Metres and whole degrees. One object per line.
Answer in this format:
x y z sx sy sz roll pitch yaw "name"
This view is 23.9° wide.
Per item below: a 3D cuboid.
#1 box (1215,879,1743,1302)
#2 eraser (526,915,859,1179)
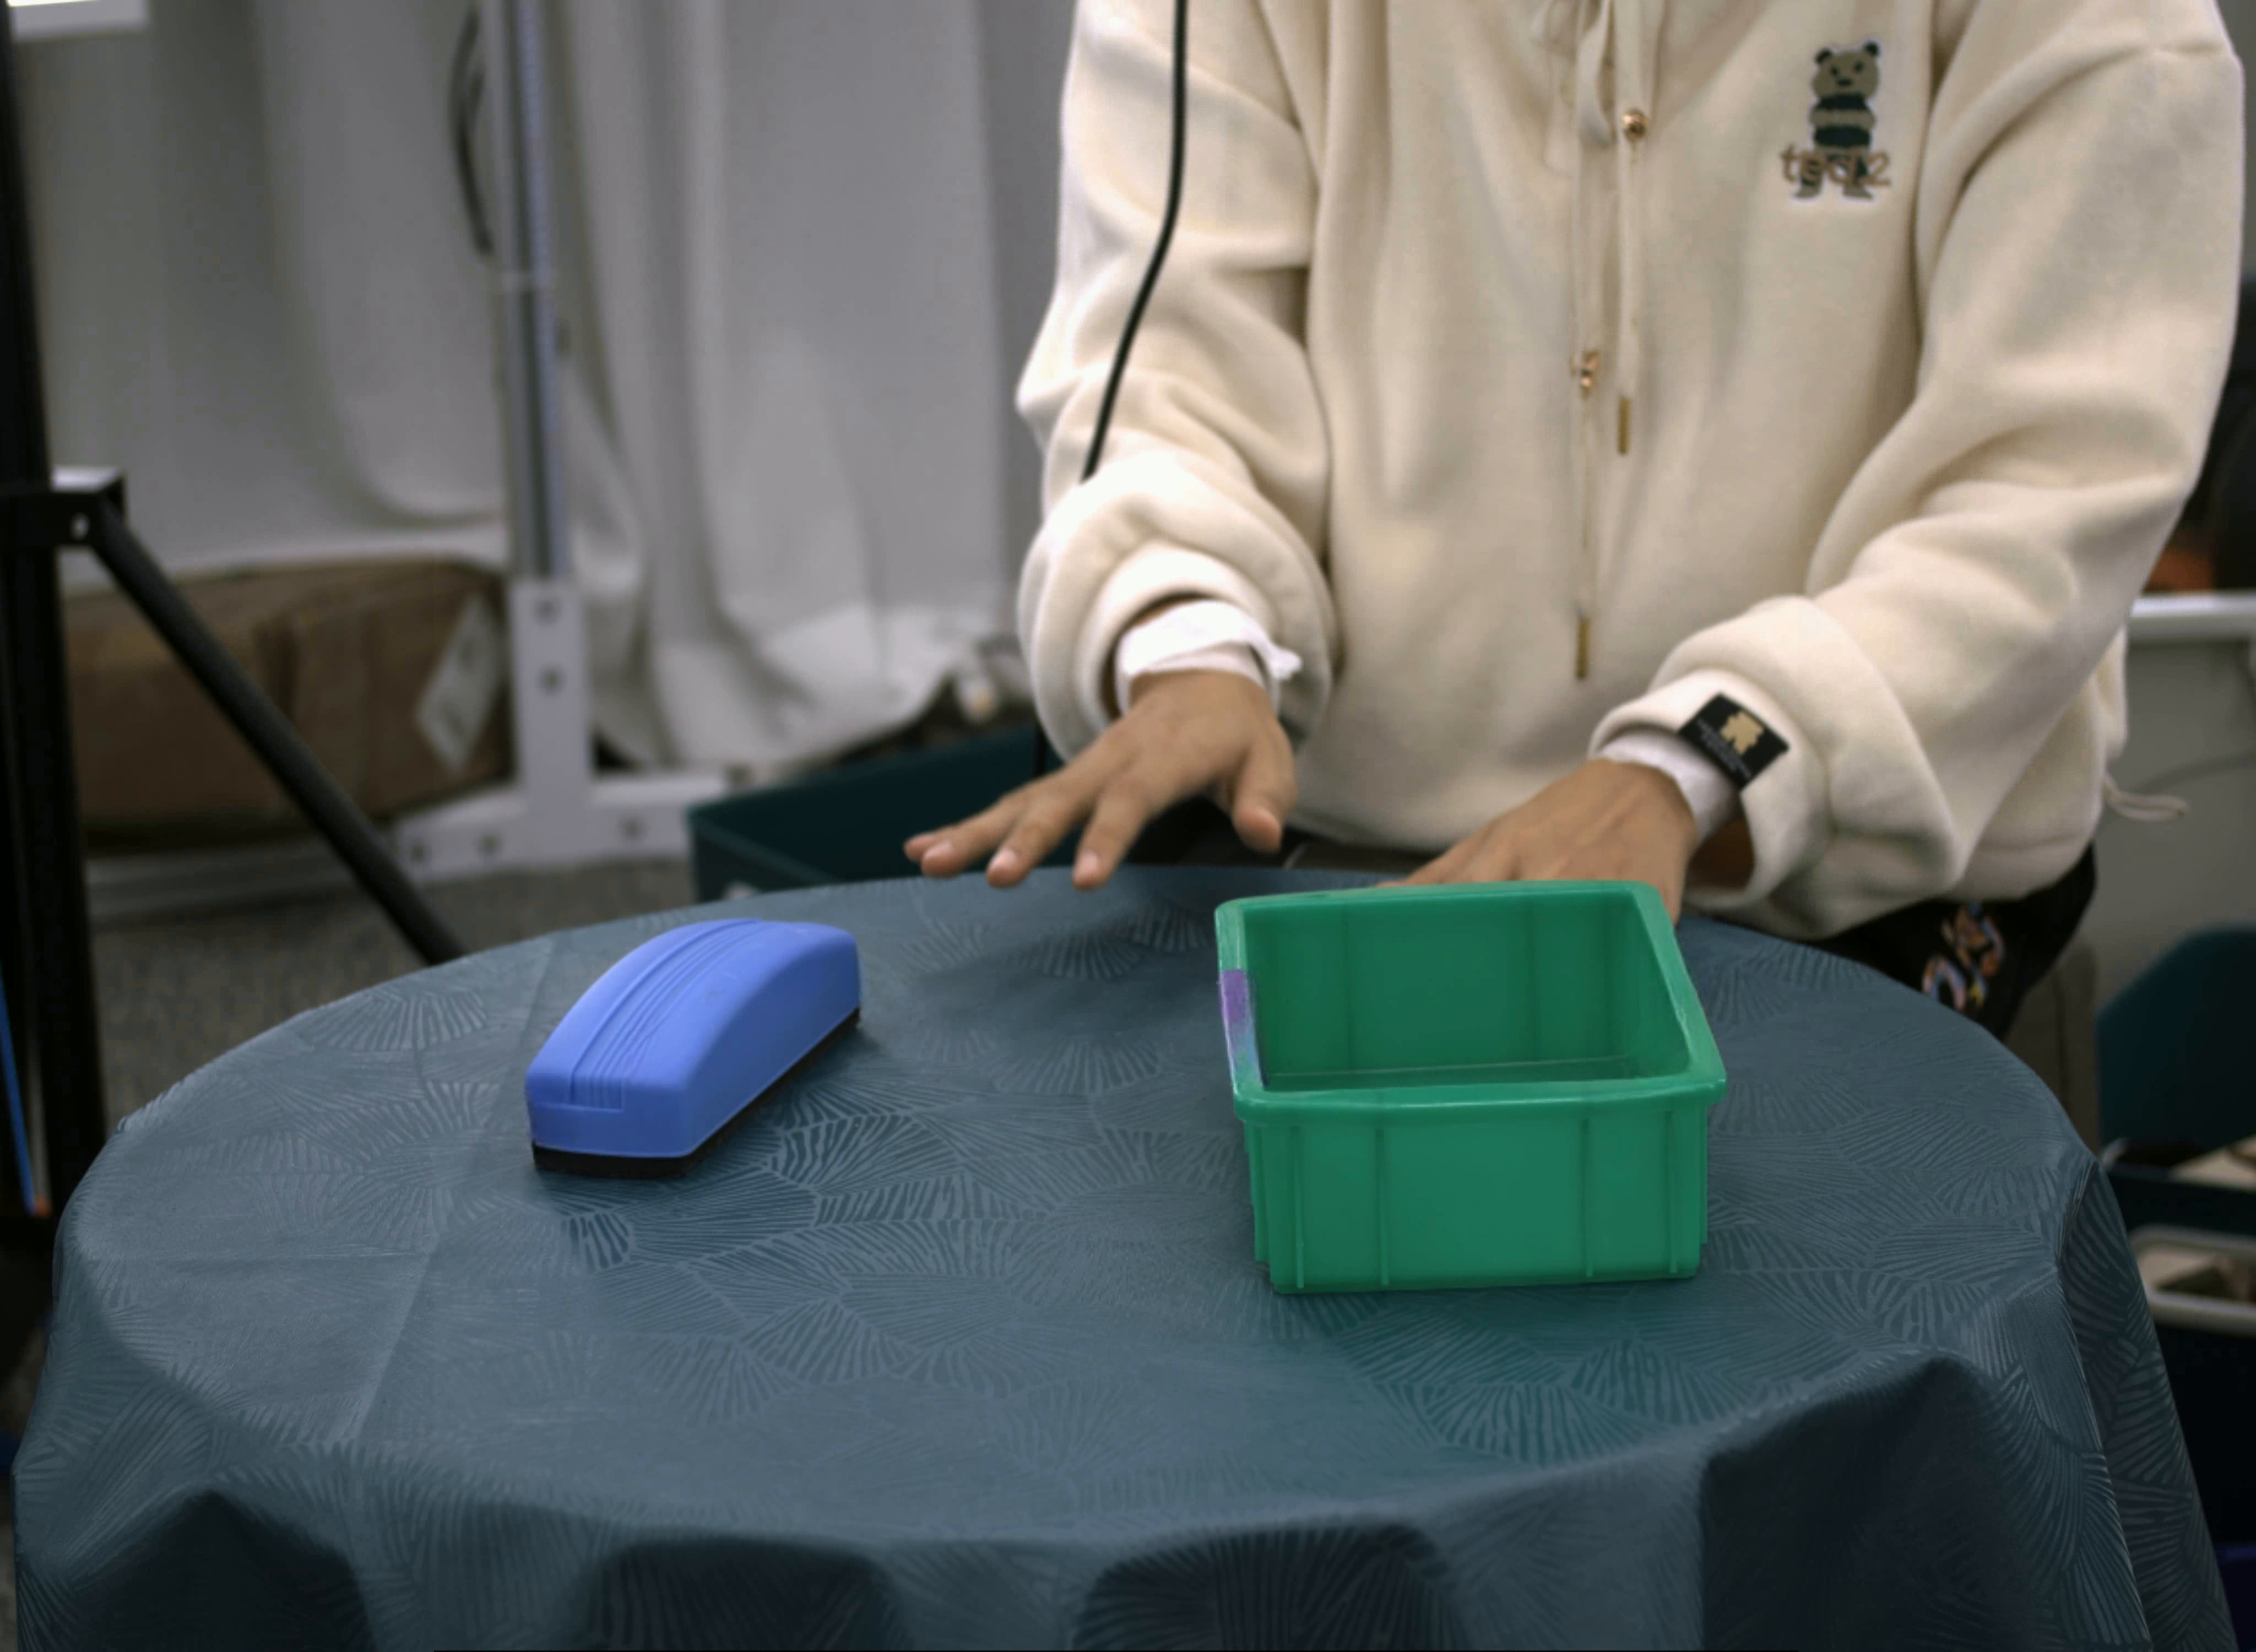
0.099 0.076 1.541 0.138 0.065 0.211 -5 16 0 "box"
-0.134 0.062 1.658 0.054 0.047 0.160 3 17 18 "eraser"
